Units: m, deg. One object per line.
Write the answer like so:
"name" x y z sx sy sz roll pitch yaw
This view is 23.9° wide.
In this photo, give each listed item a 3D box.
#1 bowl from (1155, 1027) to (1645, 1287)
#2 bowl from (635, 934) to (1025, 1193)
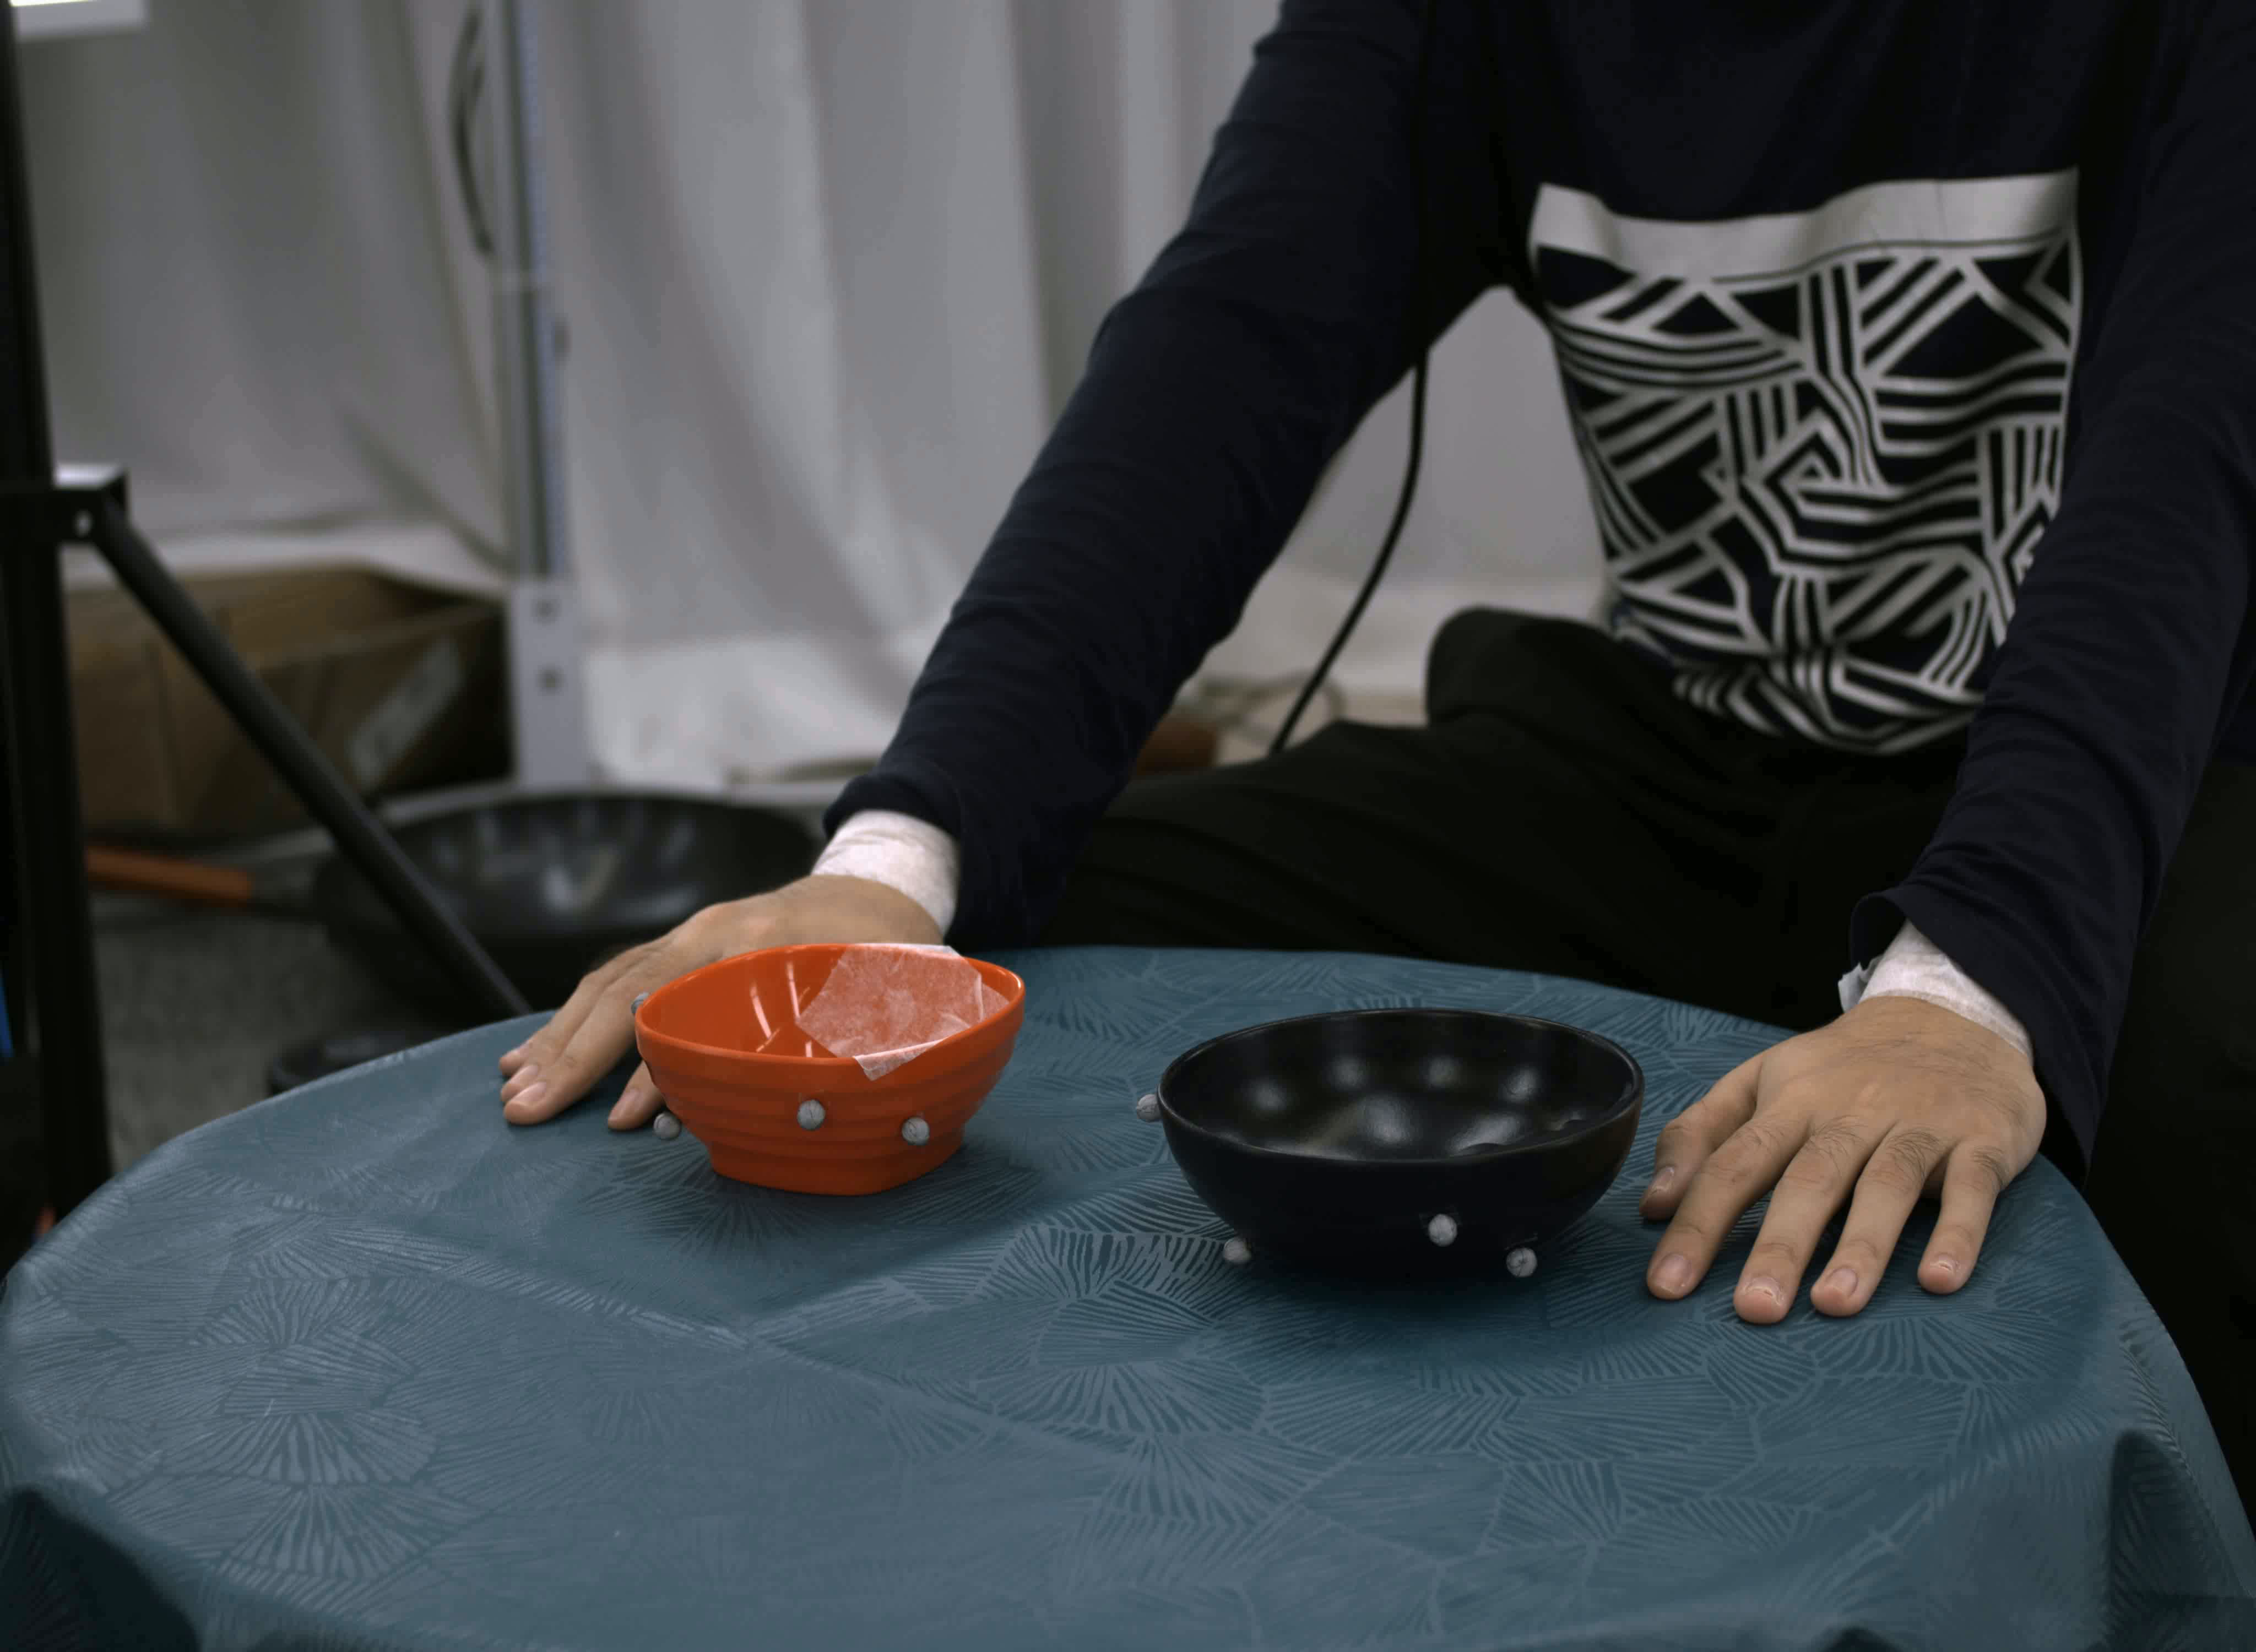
"bowl" 0.077 0.098 1.506 0.139 0.050 0.140 0 12 -1
"bowl" -0.087 0.074 1.599 0.118 0.051 0.119 -5 17 0
